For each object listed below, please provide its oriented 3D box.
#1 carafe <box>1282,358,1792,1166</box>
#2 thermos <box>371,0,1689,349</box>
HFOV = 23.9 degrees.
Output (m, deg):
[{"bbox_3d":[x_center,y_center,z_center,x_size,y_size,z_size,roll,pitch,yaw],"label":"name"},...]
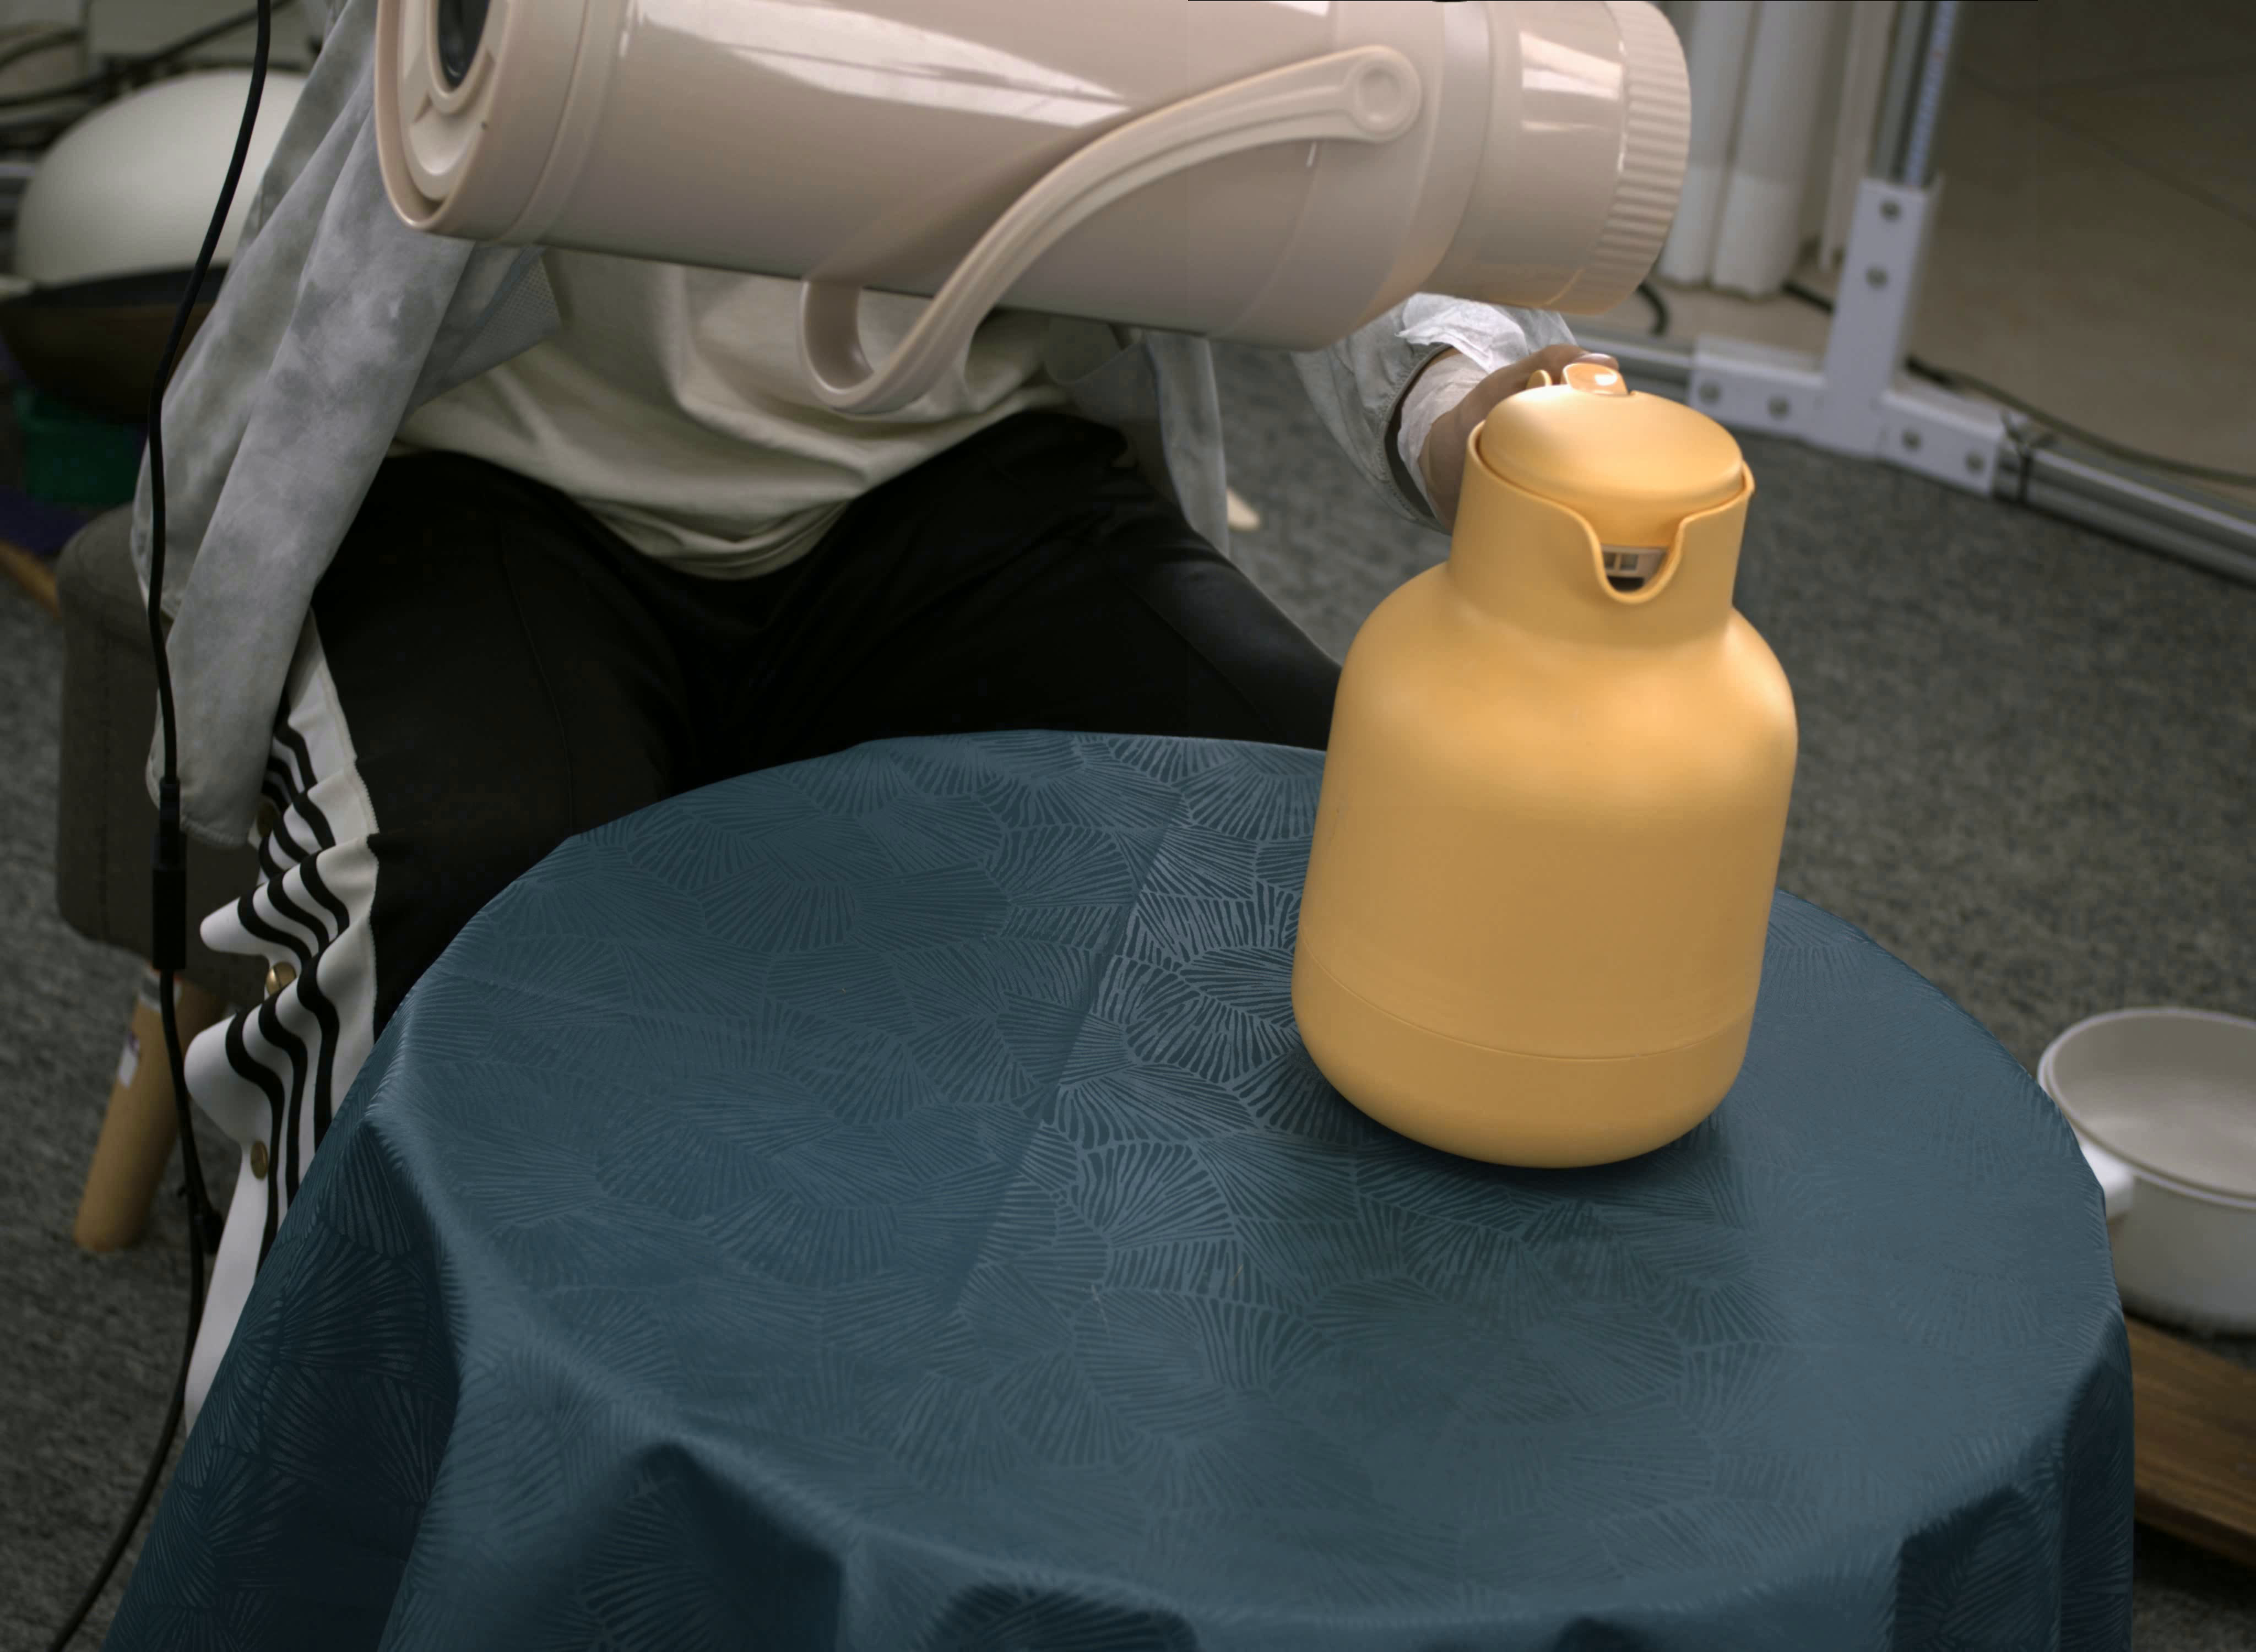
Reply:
[{"bbox_3d":[0.148,-0.031,1.856,0.163,0.259,0.203,7,27,-4],"label":"carafe"},{"bbox_3d":[-0.024,-0.254,1.679,0.403,0.207,0.176,6,3,-20],"label":"thermos"}]
